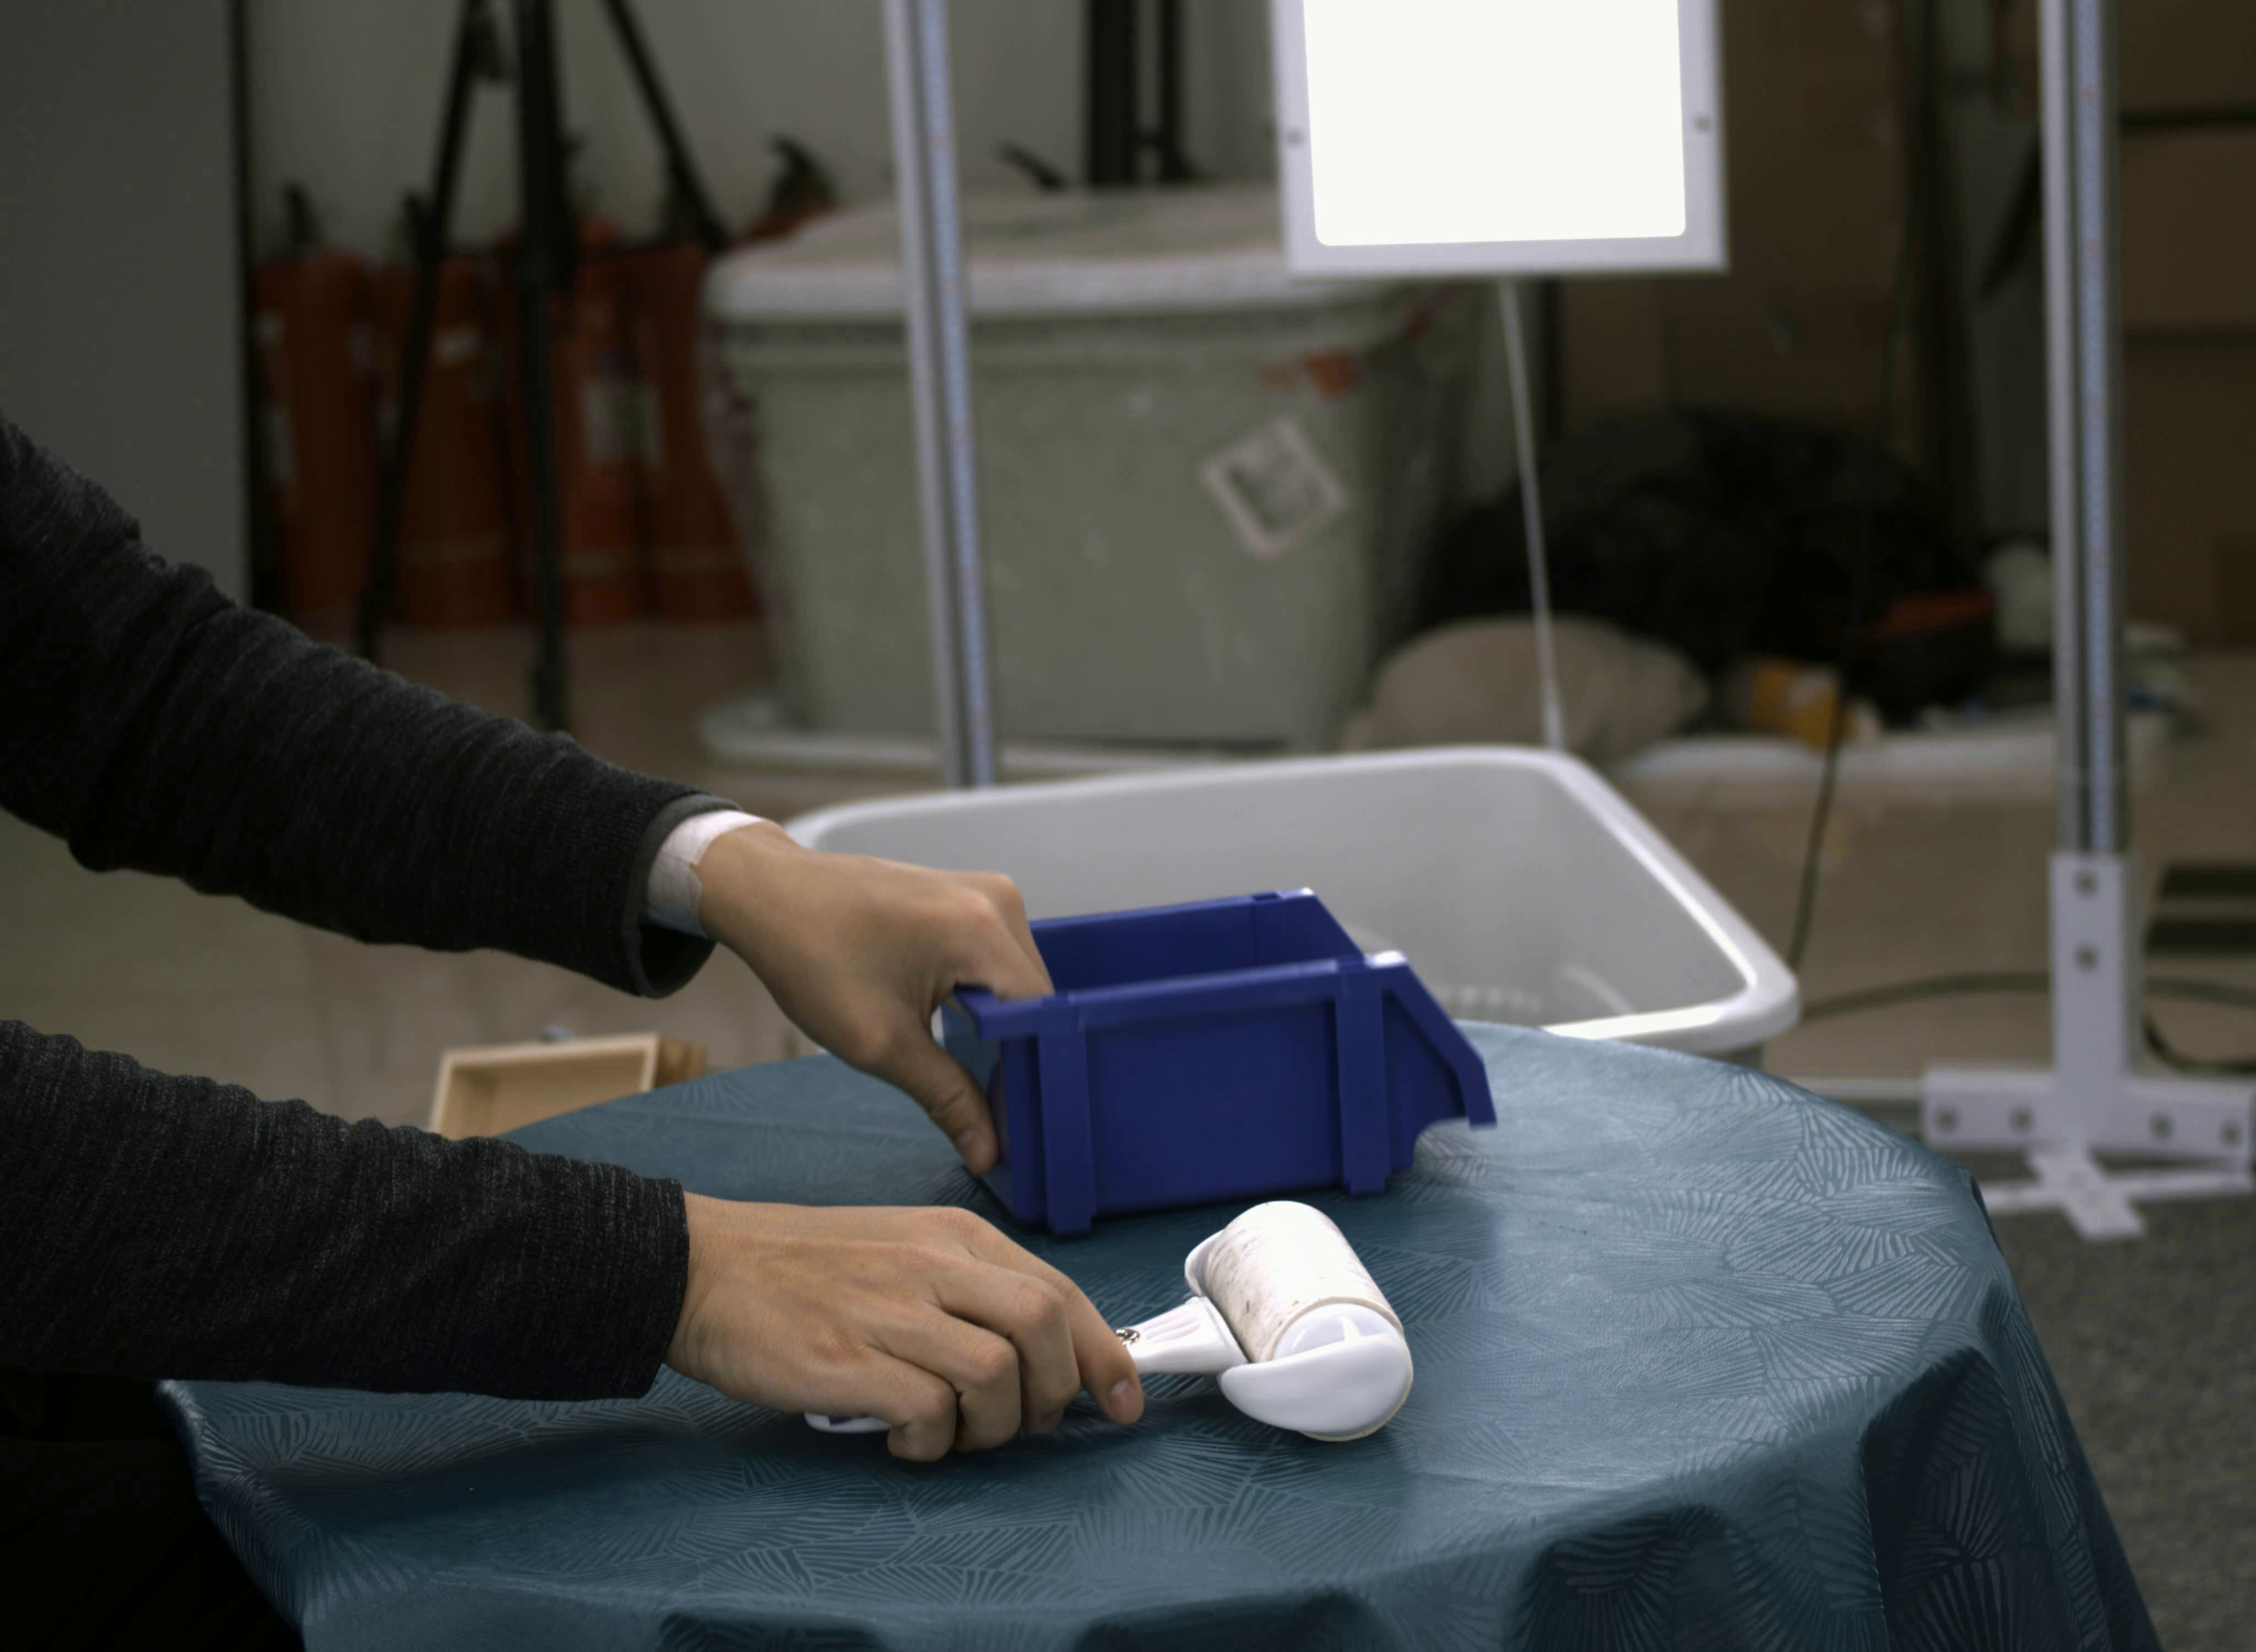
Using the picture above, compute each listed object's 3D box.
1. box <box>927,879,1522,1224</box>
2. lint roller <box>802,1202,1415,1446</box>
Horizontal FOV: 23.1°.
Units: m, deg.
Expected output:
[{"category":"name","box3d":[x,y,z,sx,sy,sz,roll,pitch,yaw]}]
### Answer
[{"category":"box","box3d":[0.032,0.075,1.911,0.177,0.082,0.125,-9,12,-10]},{"category":"lint roller","box3d":[-0.010,0.153,1.677,0.179,0.050,0.133,-1,14,-6]}]
